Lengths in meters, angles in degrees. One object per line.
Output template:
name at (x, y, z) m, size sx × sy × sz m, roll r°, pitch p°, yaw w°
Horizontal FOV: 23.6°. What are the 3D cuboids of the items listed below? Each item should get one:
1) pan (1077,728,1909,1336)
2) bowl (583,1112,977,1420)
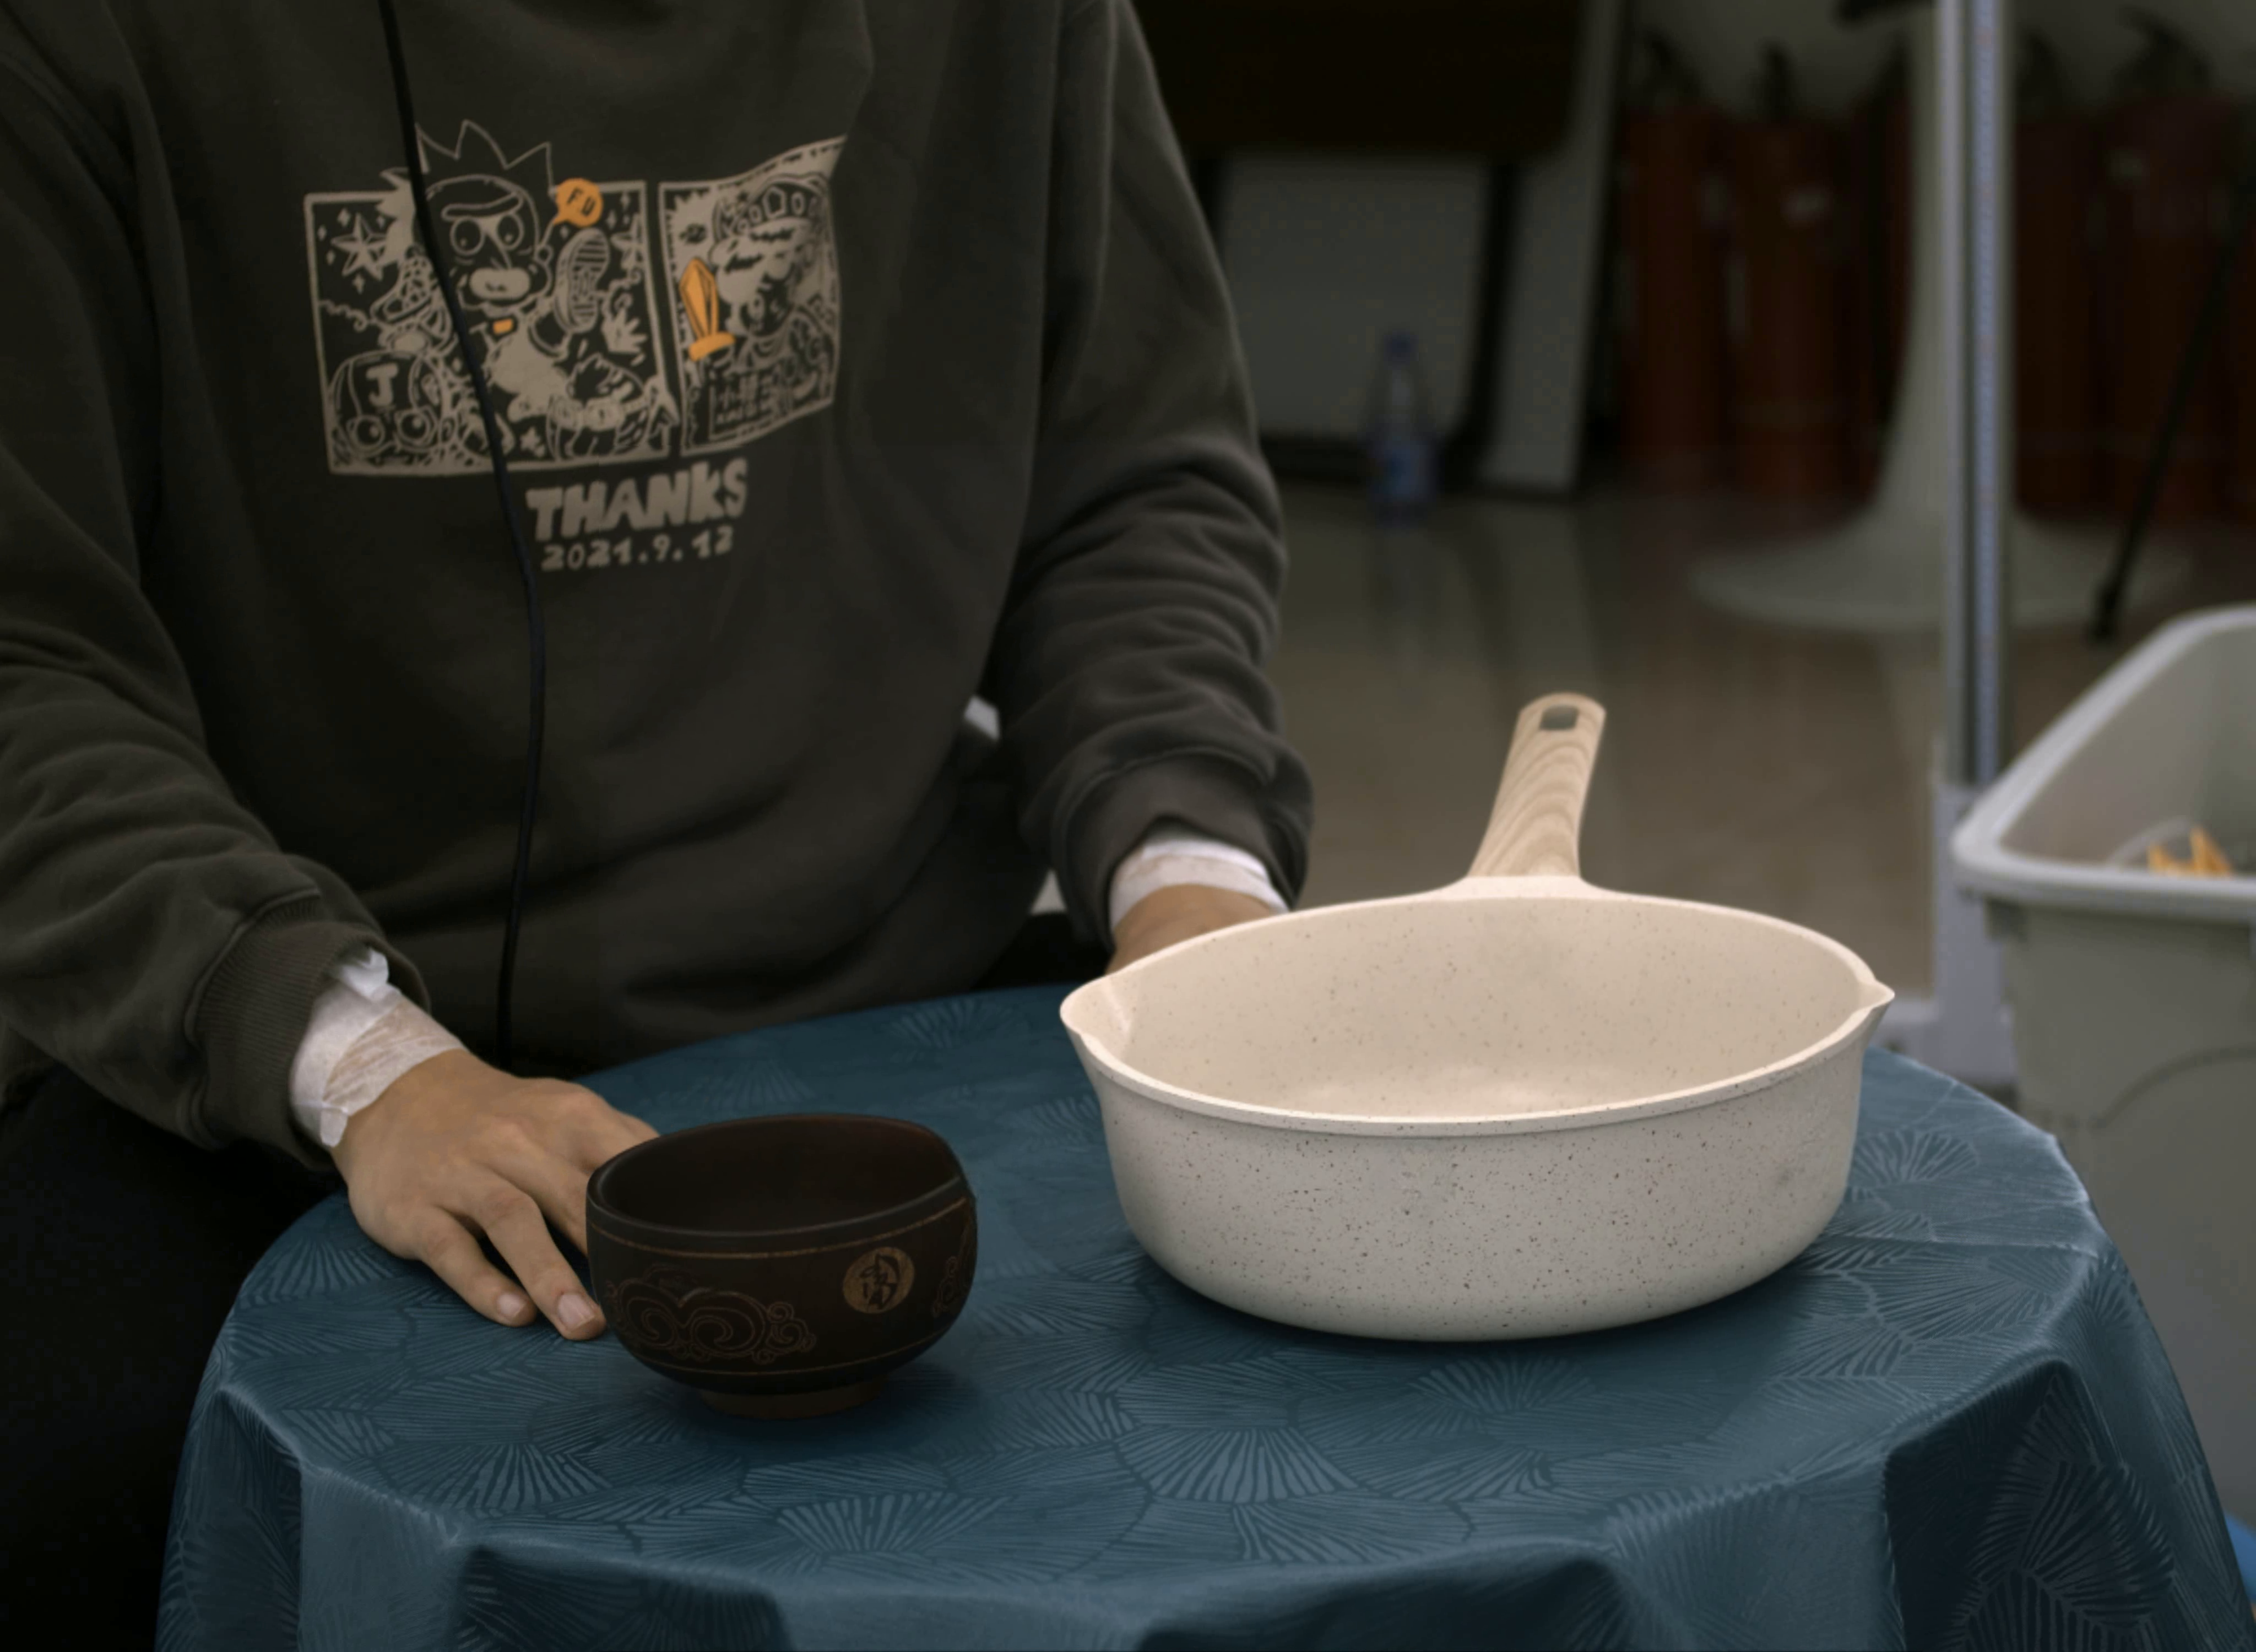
pan at (0.130, 0.063, 1.771) m, size 0.261 × 0.103 × 0.433 m, roll -3°, pitch 13°, yaw 11°
bowl at (-0.101, 0.134, 1.602) m, size 0.116 × 0.070 × 0.118 m, roll -5°, pitch 12°, yaw 0°
